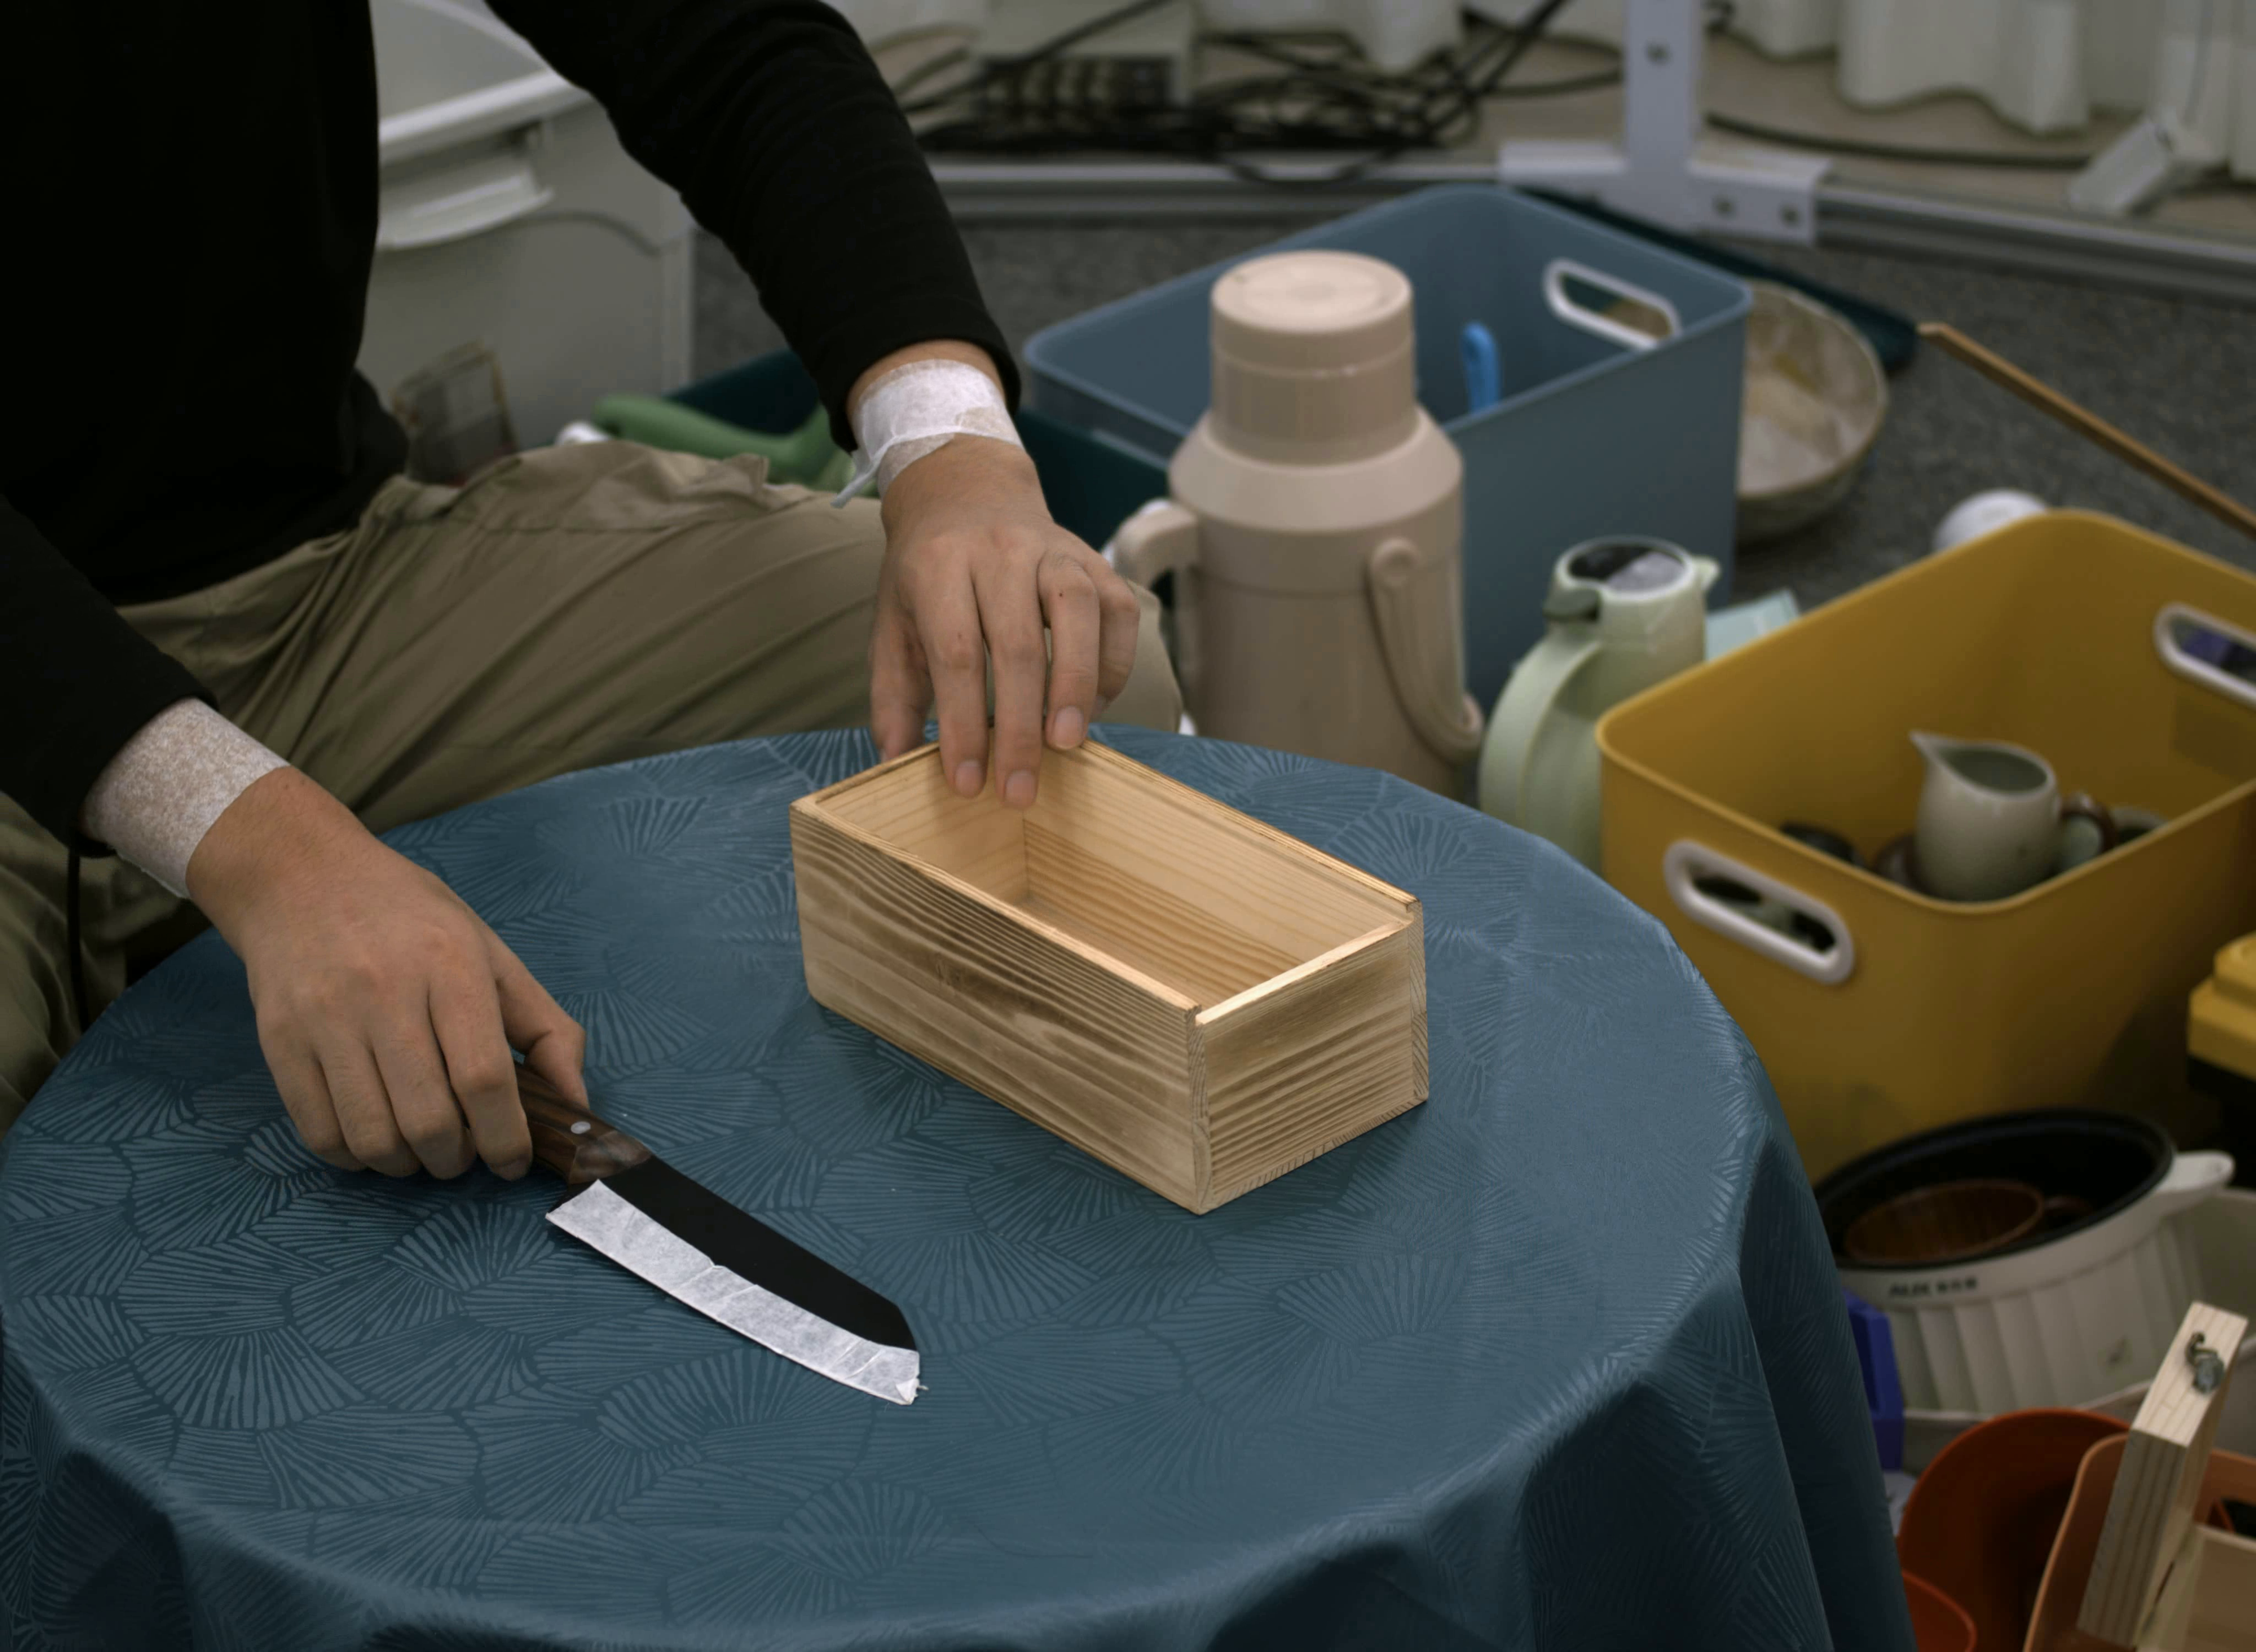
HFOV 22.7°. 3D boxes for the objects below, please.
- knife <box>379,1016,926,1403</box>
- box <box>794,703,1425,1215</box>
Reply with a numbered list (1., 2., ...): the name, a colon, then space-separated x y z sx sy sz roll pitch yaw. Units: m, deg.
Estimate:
1. knife: -0.160 0.127 1.852 0.051 0.020 0.289 -30 40 -30
2. box: -0.008 0.042 1.930 0.108 0.079 0.211 -23 34 -35
